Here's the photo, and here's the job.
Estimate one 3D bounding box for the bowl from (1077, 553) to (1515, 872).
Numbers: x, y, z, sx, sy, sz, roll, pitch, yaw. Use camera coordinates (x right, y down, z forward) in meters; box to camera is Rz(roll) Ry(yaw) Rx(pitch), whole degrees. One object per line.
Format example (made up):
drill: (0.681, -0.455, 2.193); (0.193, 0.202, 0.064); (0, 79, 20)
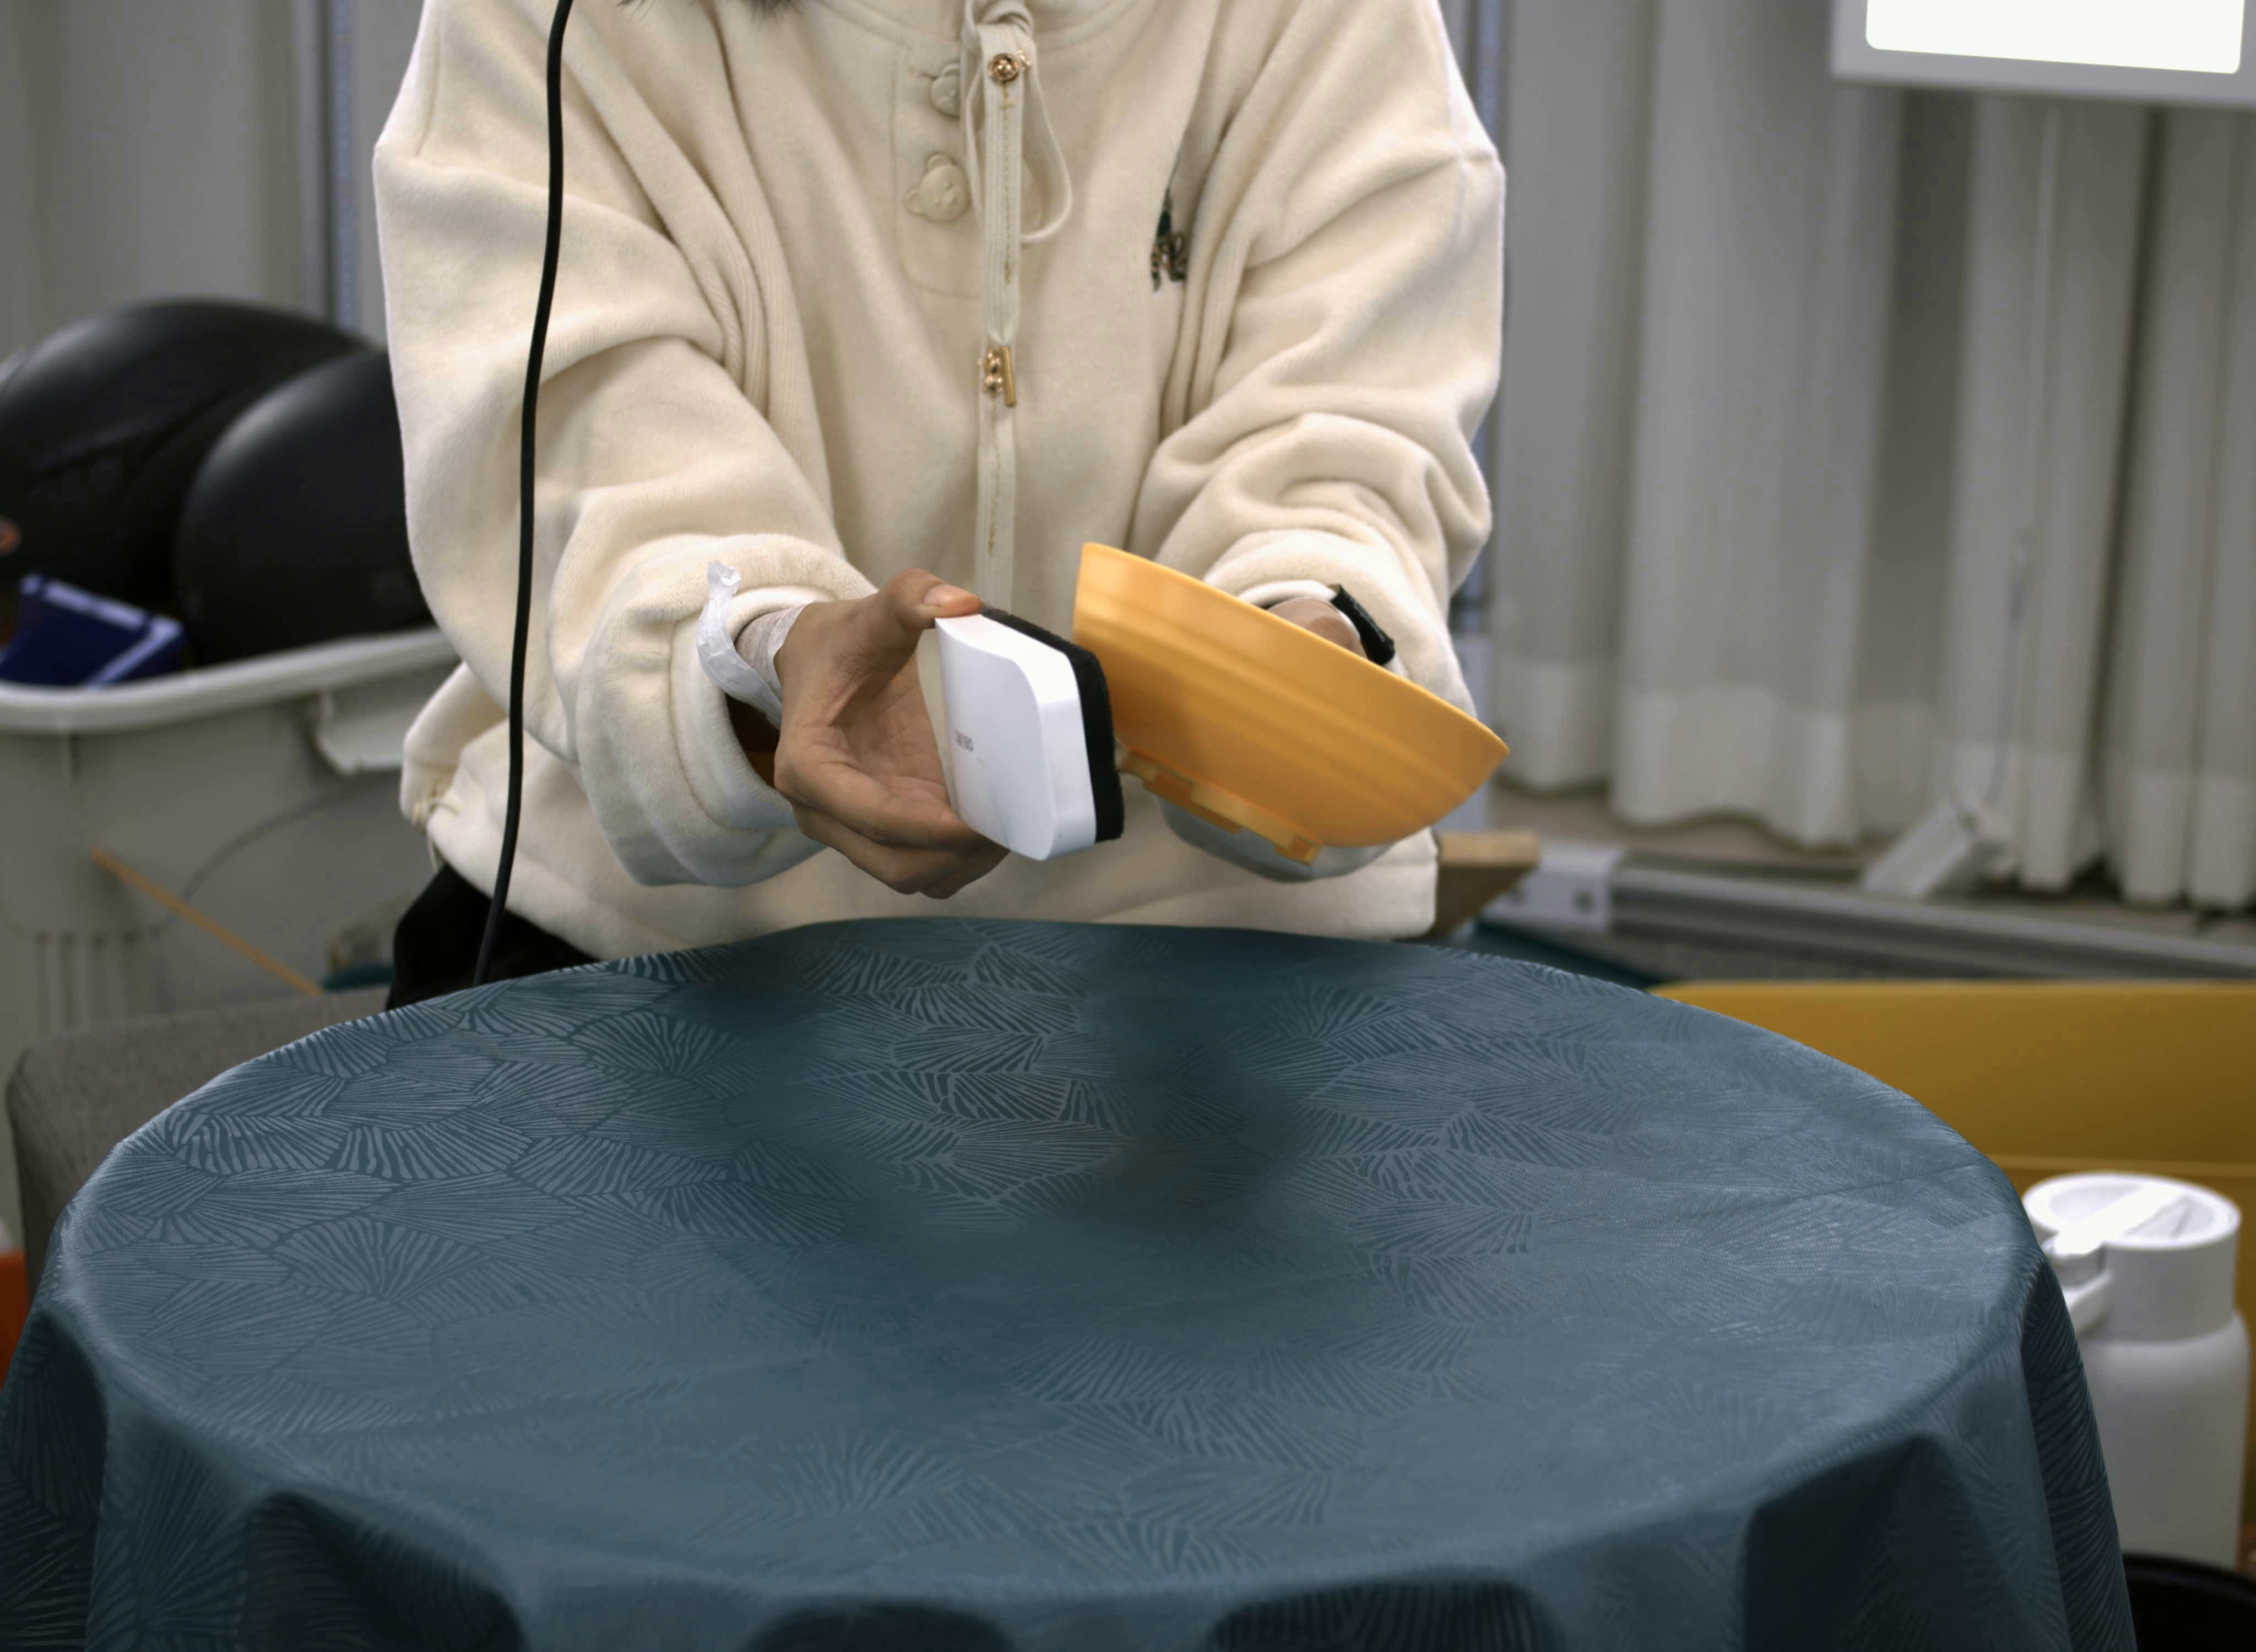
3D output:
bowl: (0.041, -0.026, 1.596); (0.145, 0.060, 0.145); (26, 0, 1)

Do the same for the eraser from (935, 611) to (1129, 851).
eraser: (-0.033, -0.031, 1.562); (0.034, 0.064, 0.130); (-9, 10, -15)
